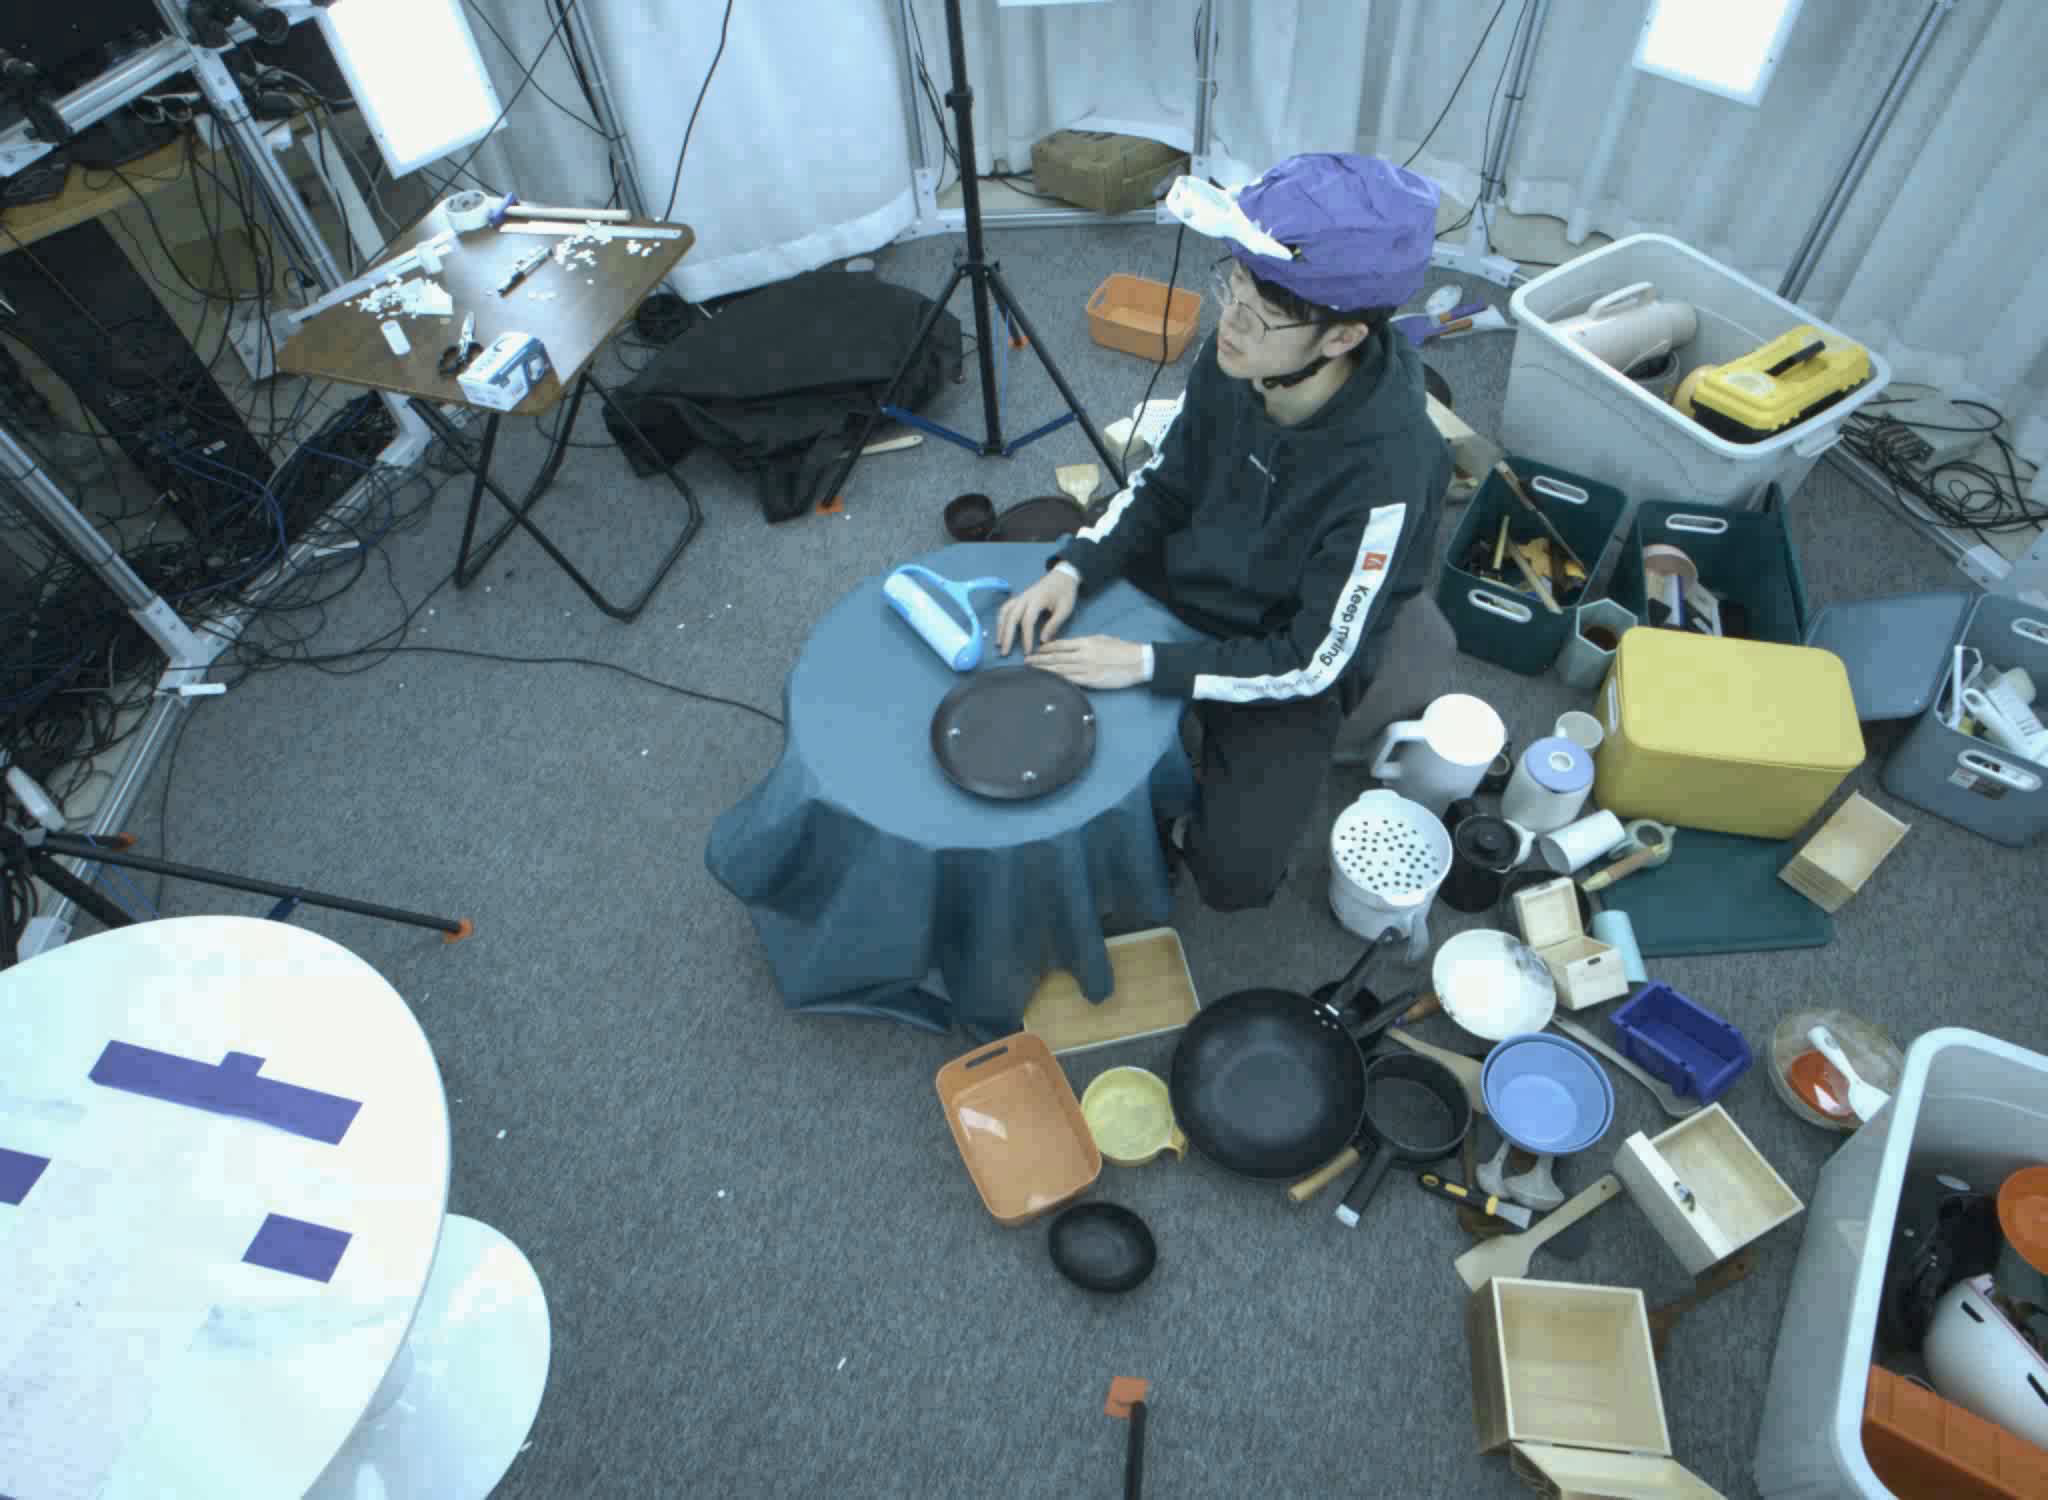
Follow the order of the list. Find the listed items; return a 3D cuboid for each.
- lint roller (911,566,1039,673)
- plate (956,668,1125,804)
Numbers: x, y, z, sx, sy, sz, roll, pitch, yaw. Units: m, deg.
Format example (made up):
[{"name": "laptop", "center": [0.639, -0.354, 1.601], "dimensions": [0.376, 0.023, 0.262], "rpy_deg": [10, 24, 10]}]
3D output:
[{"name": "lint roller", "center": [-0.054, -0.229, 1.913], "dimensions": [0.182, 0.068, 0.224], "rpy_deg": [-34, 59, -21]}, {"name": "plate", "center": [0.024, -0.019, 1.782], "dimensions": [0.244, 0.023, 0.242], "rpy_deg": [0, 55, 2]}]
